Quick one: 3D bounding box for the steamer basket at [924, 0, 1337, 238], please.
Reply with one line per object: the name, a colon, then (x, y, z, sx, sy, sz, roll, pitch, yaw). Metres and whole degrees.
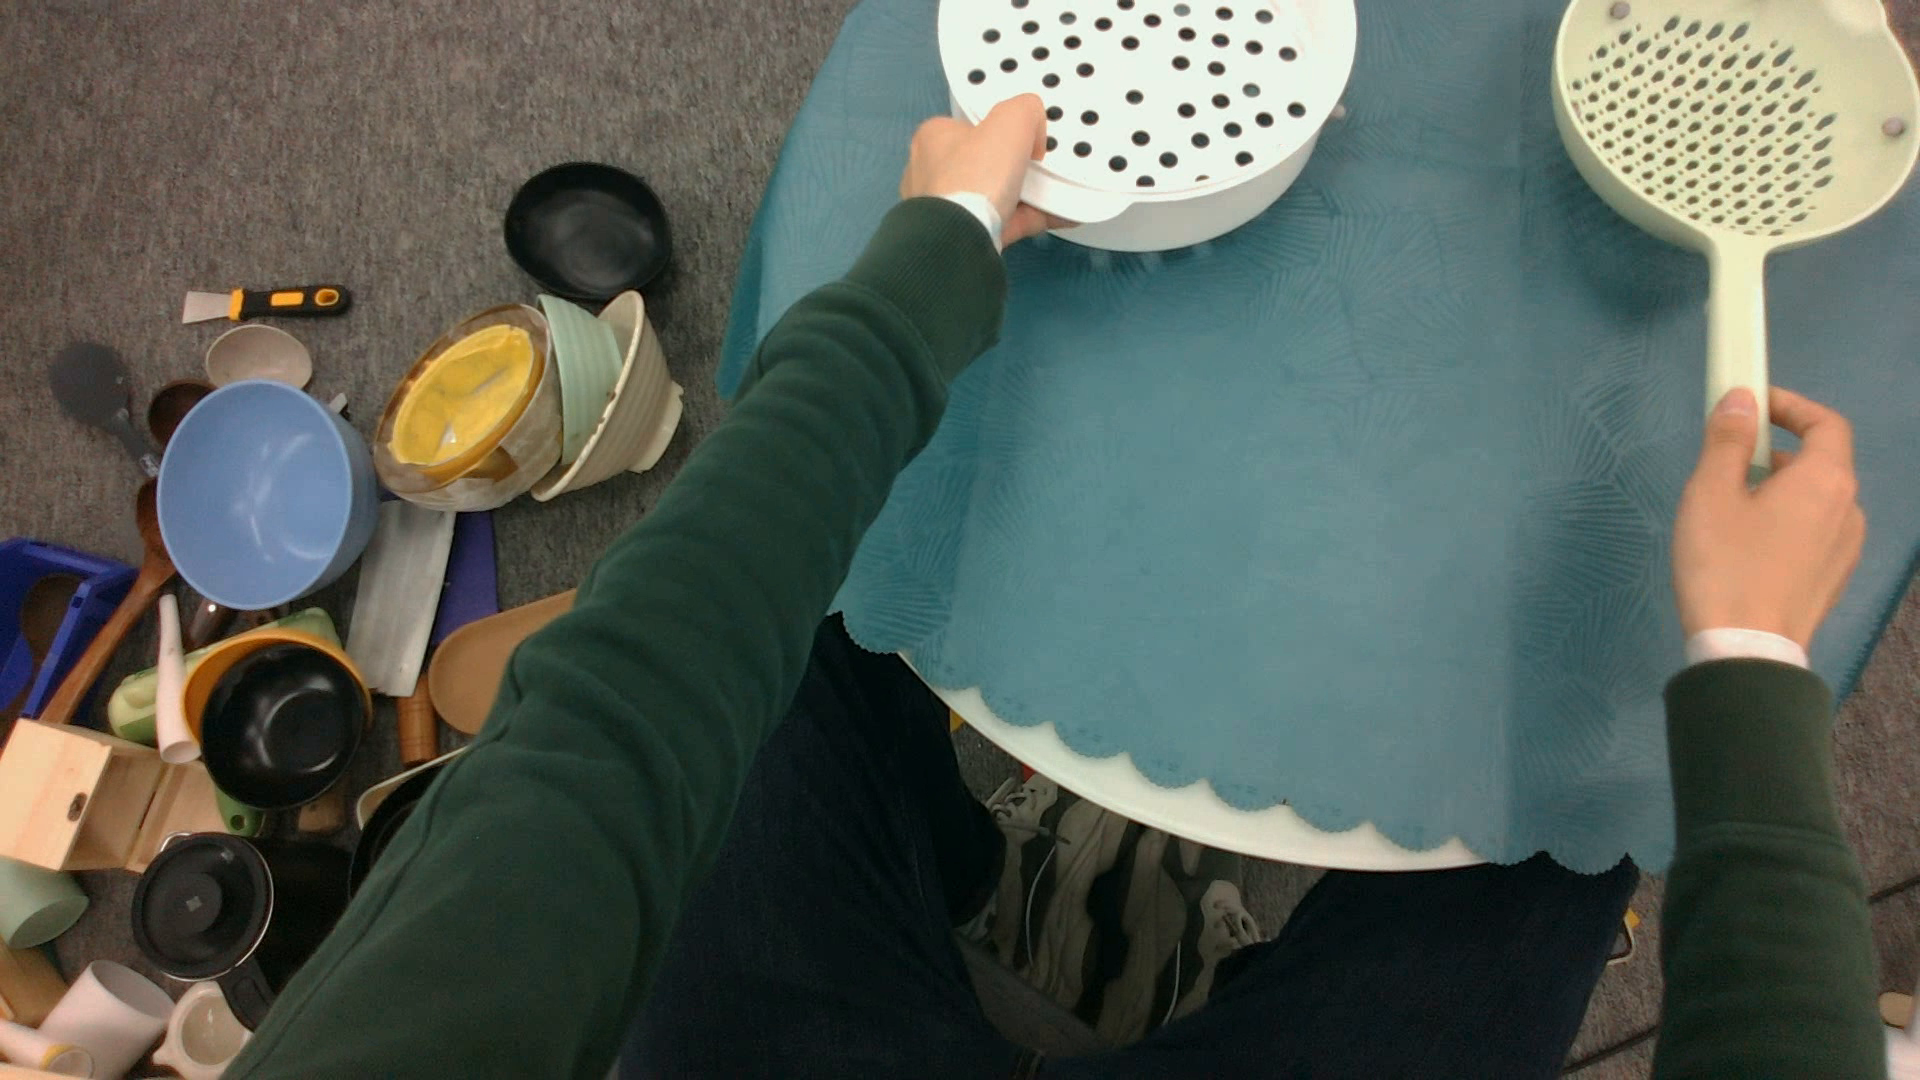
steamer basket: (0.084, -0.249, 0.701, 0.202, 0.069, 0.231, 23, 72, 10)

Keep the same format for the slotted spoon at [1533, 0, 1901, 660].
slotted spoon: (0.339, -0.123, 0.622, 0.169, 0.075, 0.360, 9, 62, 4)
